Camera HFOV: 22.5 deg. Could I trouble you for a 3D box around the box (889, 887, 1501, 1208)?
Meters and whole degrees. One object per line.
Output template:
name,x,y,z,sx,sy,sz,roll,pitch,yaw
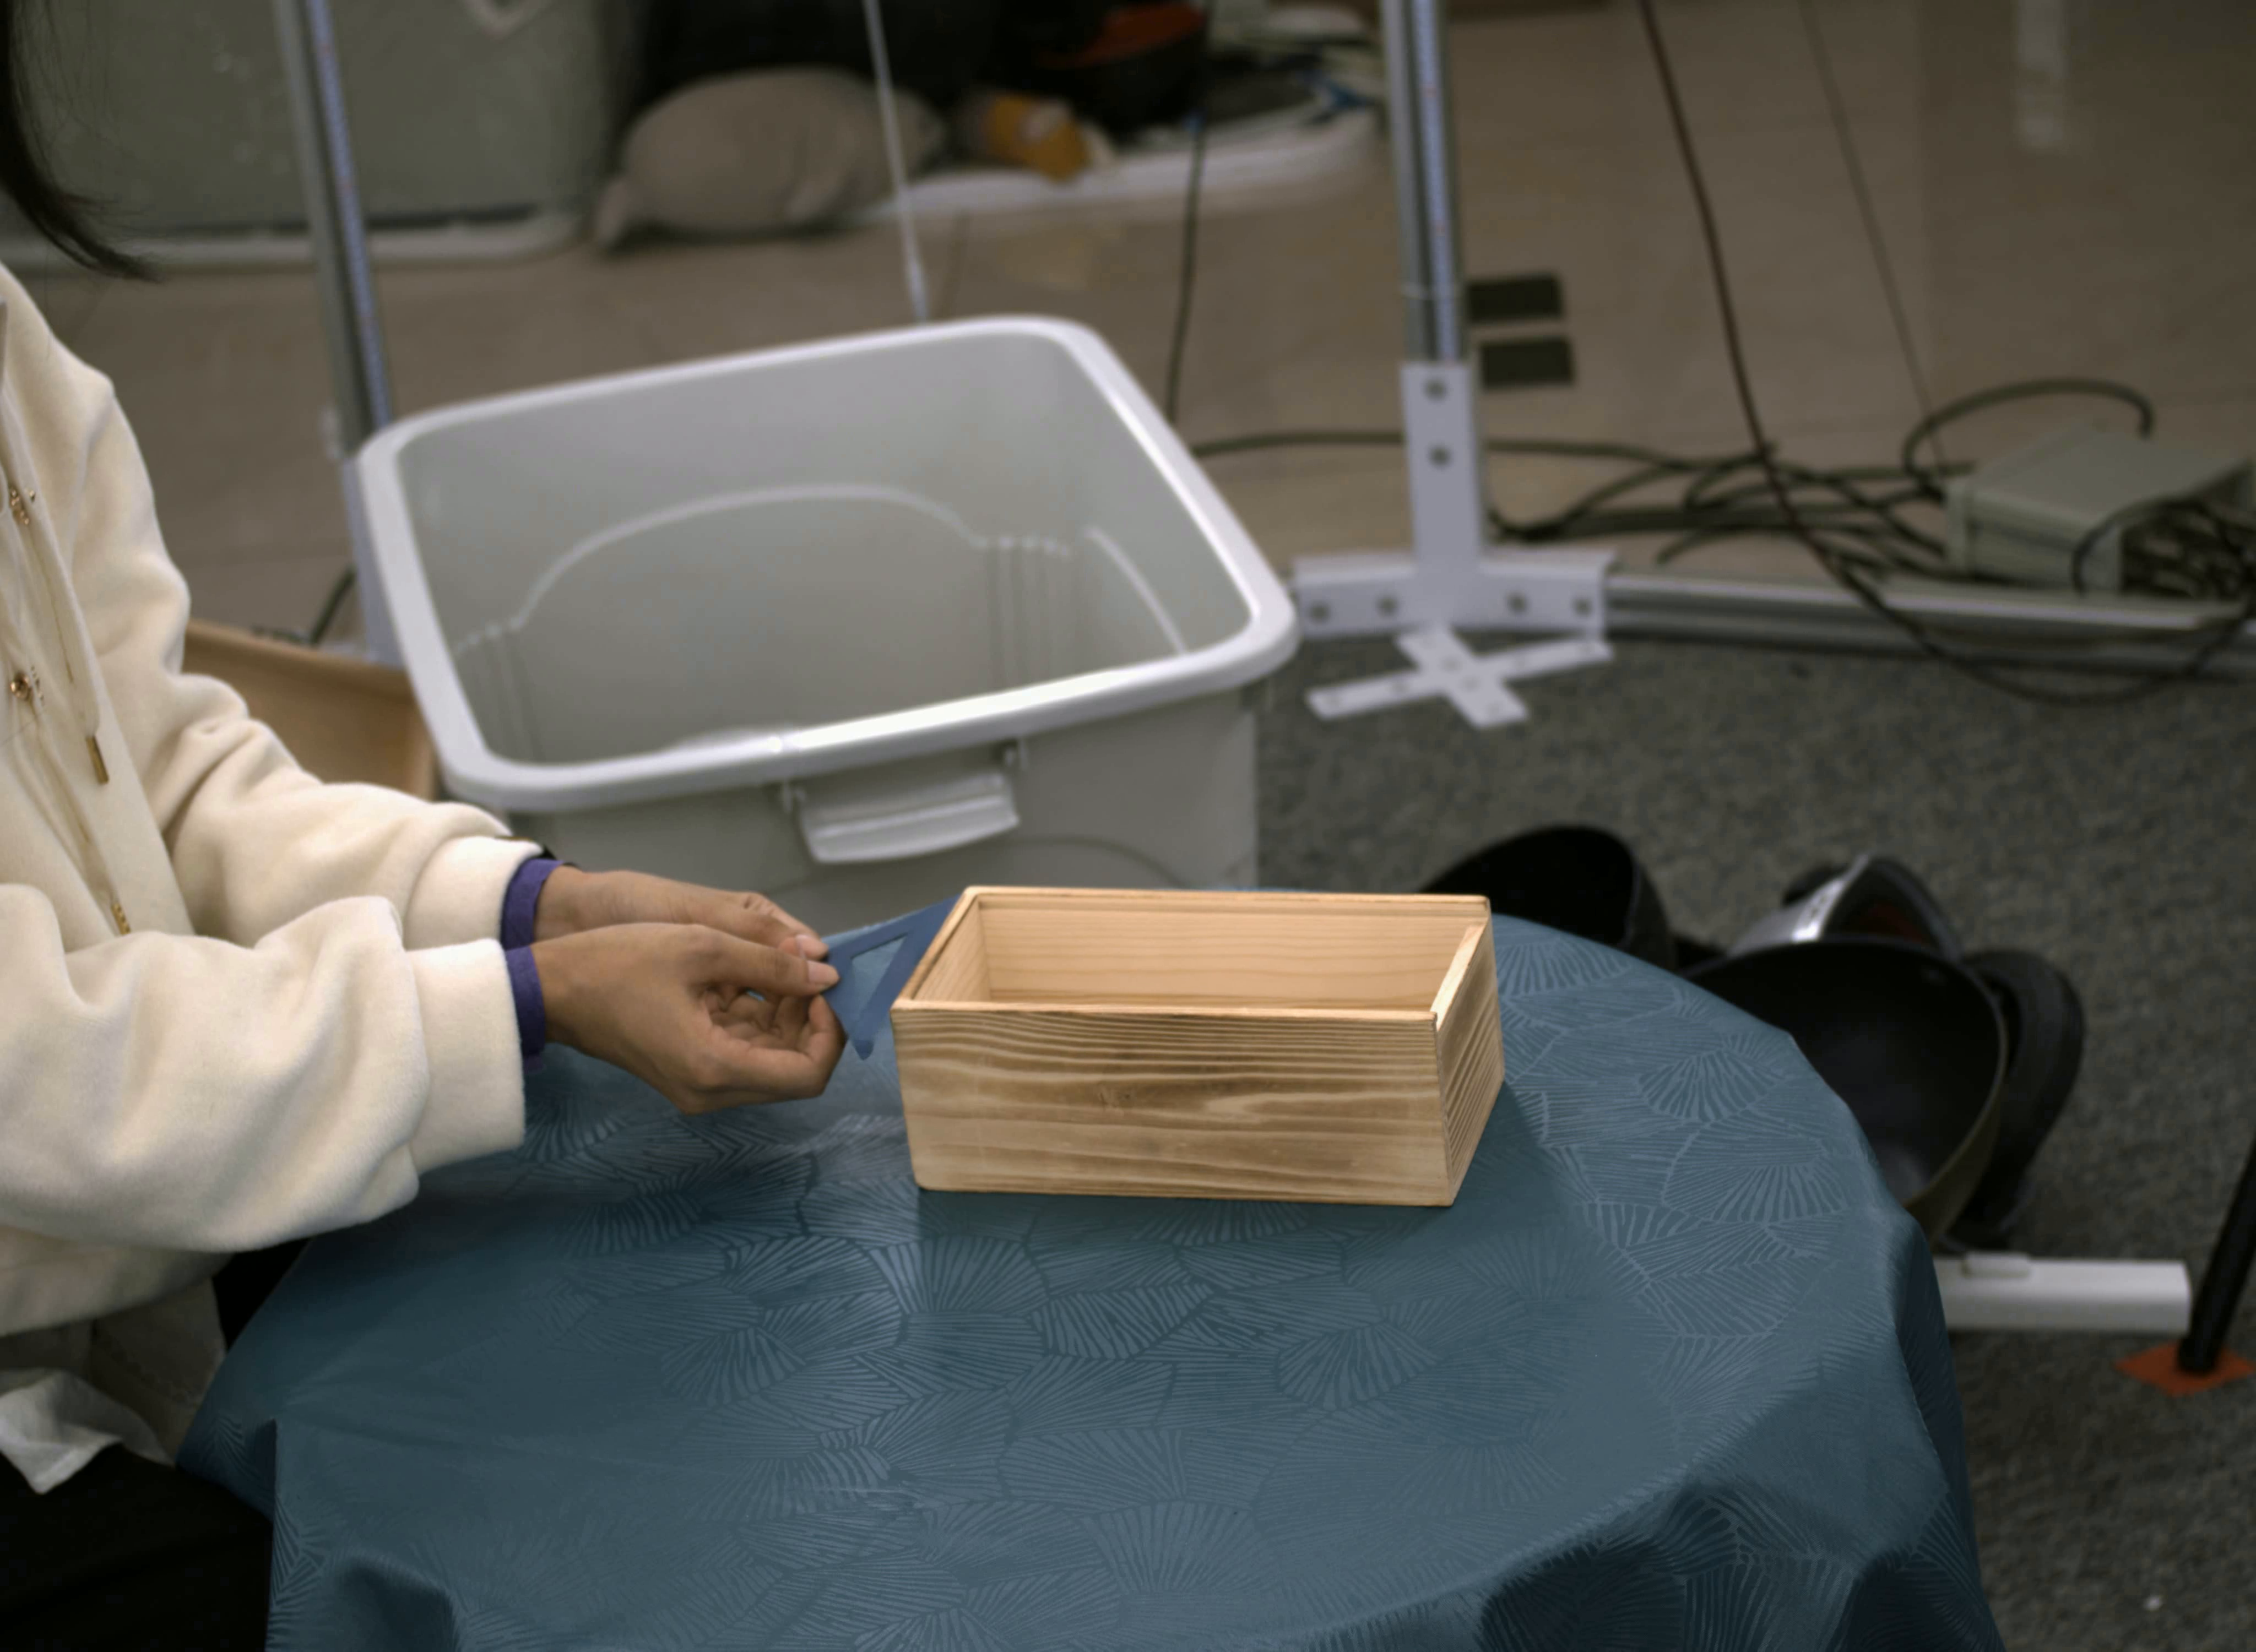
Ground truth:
box,0.027,0.083,2.166,0.211,0.081,0.106,1,26,15

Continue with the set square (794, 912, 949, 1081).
set square,-0.116,0.066,2.173,0.061,0.006,0.130,-8,25,25
